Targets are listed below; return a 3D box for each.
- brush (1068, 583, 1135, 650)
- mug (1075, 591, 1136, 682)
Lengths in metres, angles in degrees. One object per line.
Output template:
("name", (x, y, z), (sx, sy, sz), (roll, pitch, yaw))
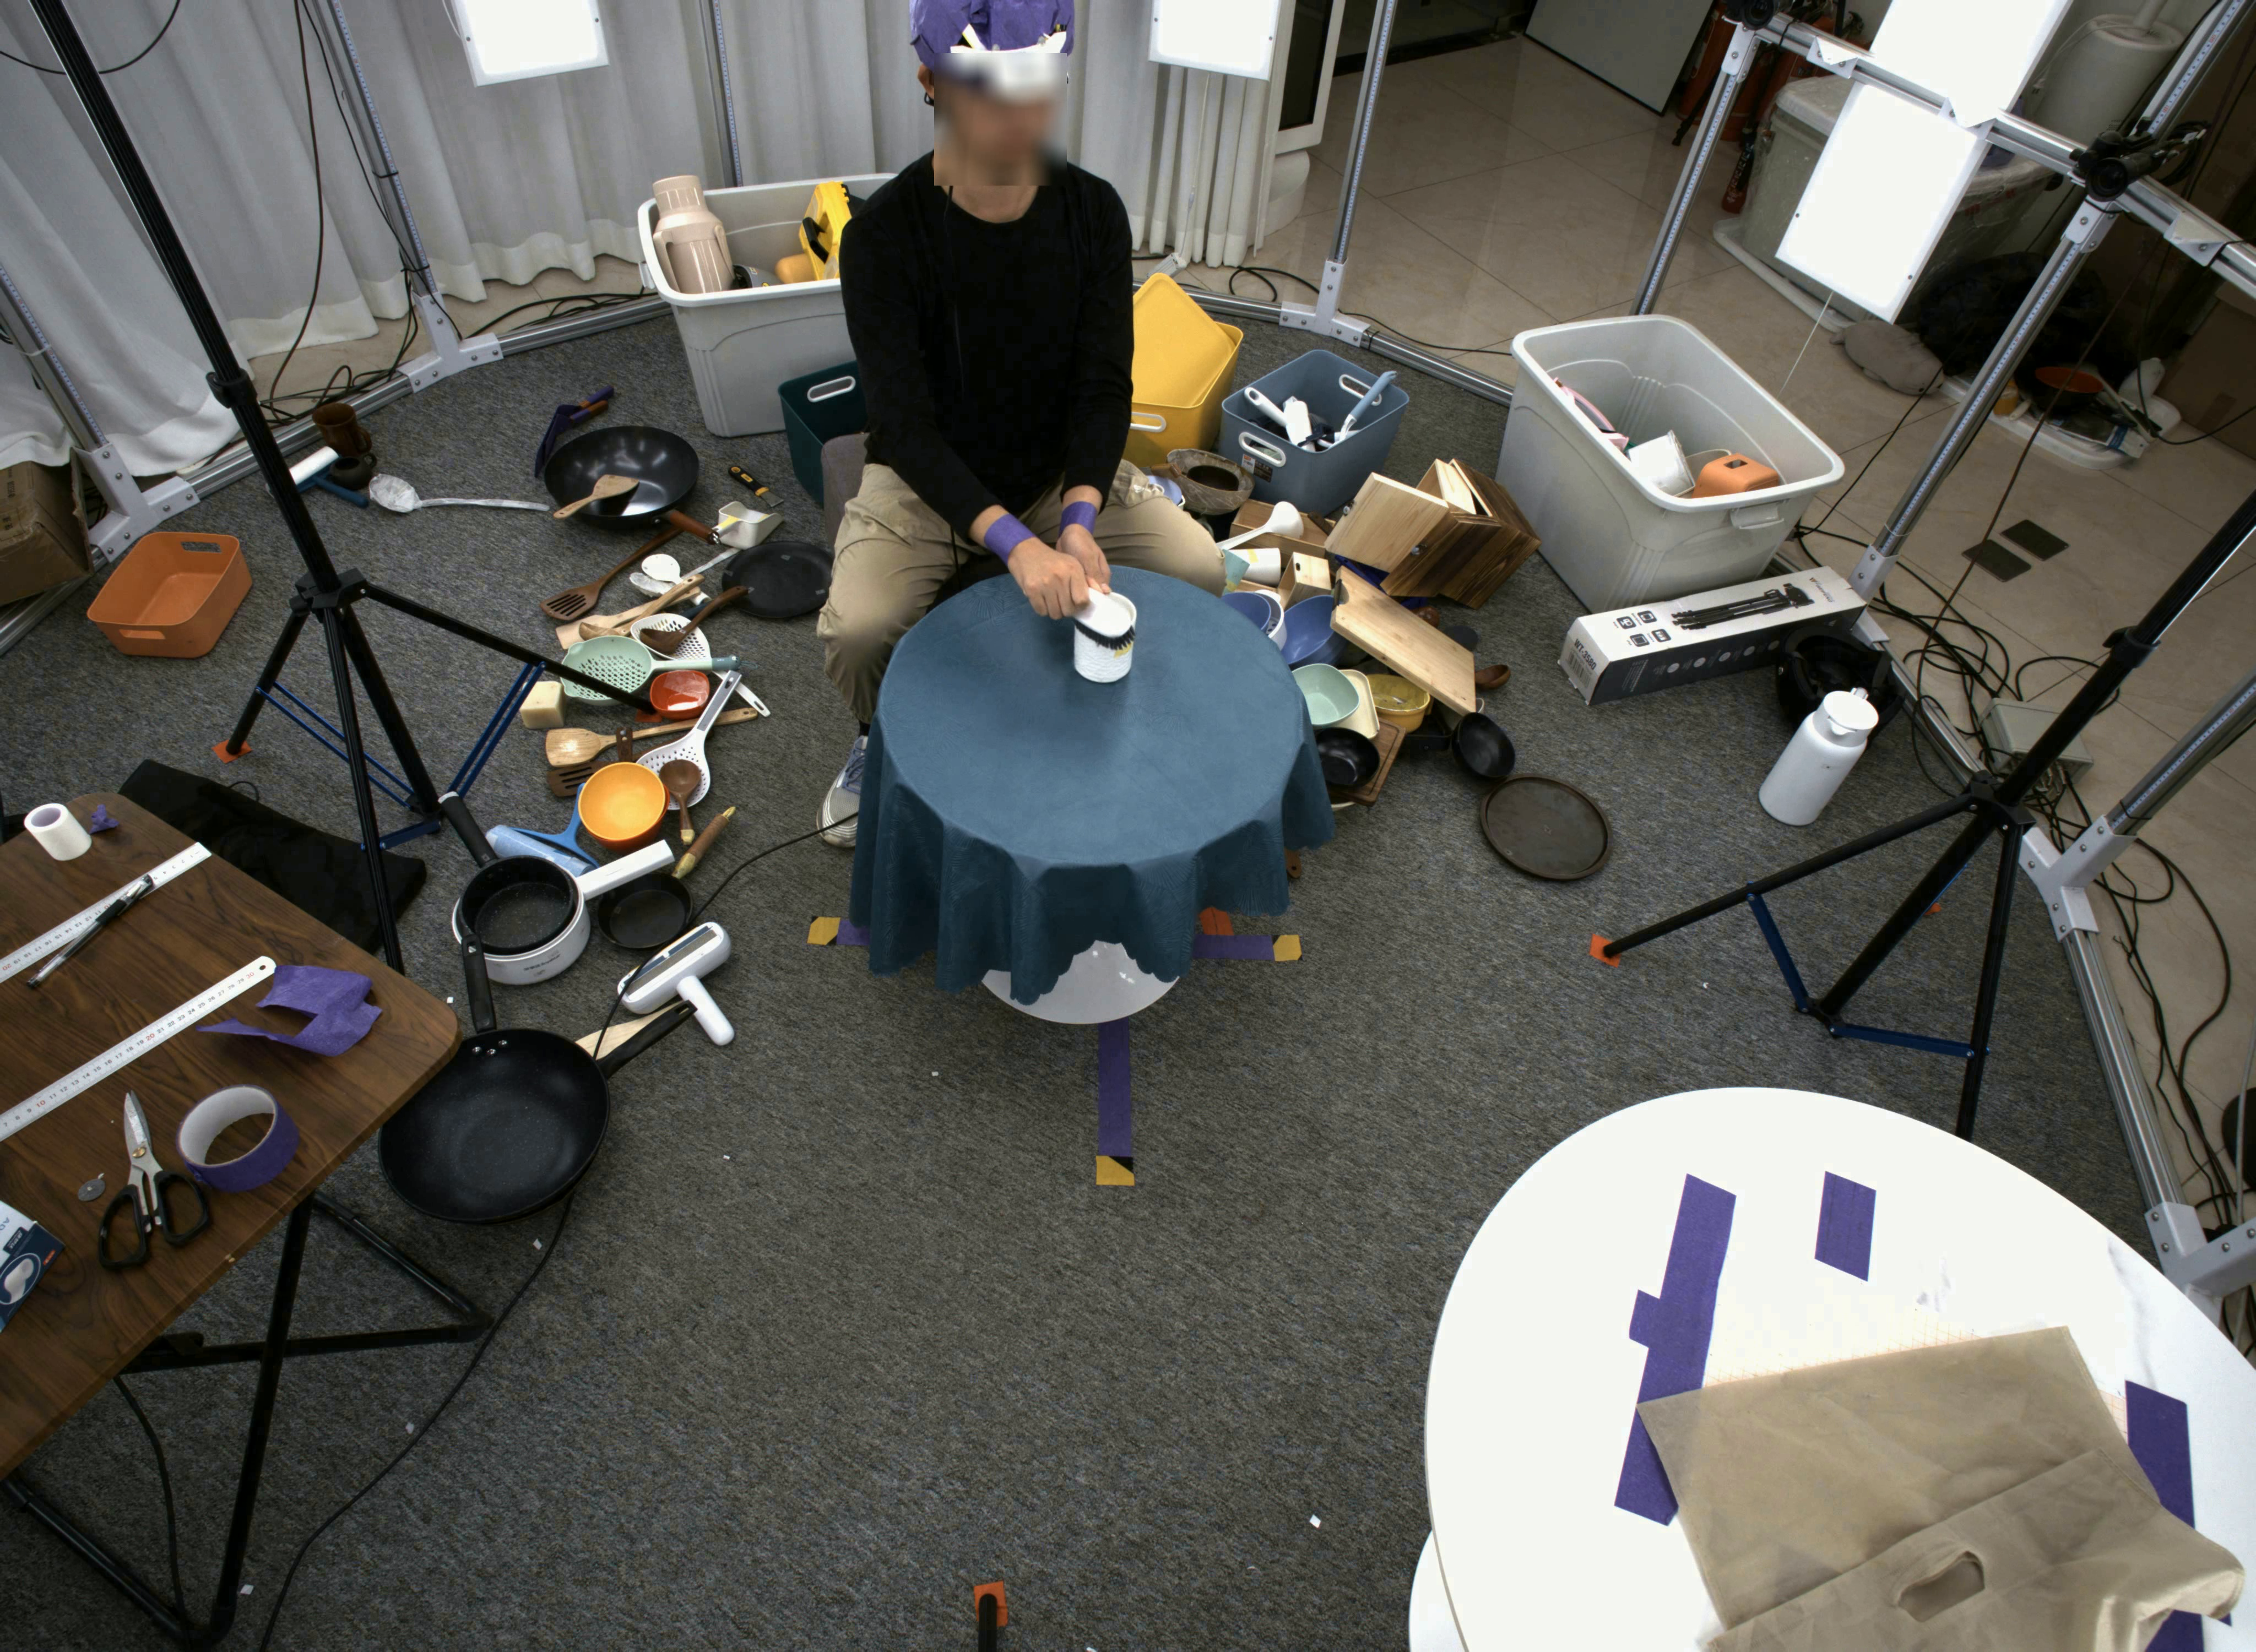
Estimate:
("brush", (-0.040, -0.290, 1.729), (0.101, 0.071, 0.050), (37, 73, 29))
("mug", (-0.042, -0.279, 1.837), (0.085, 0.099, 0.120), (-25, 56, -22))
